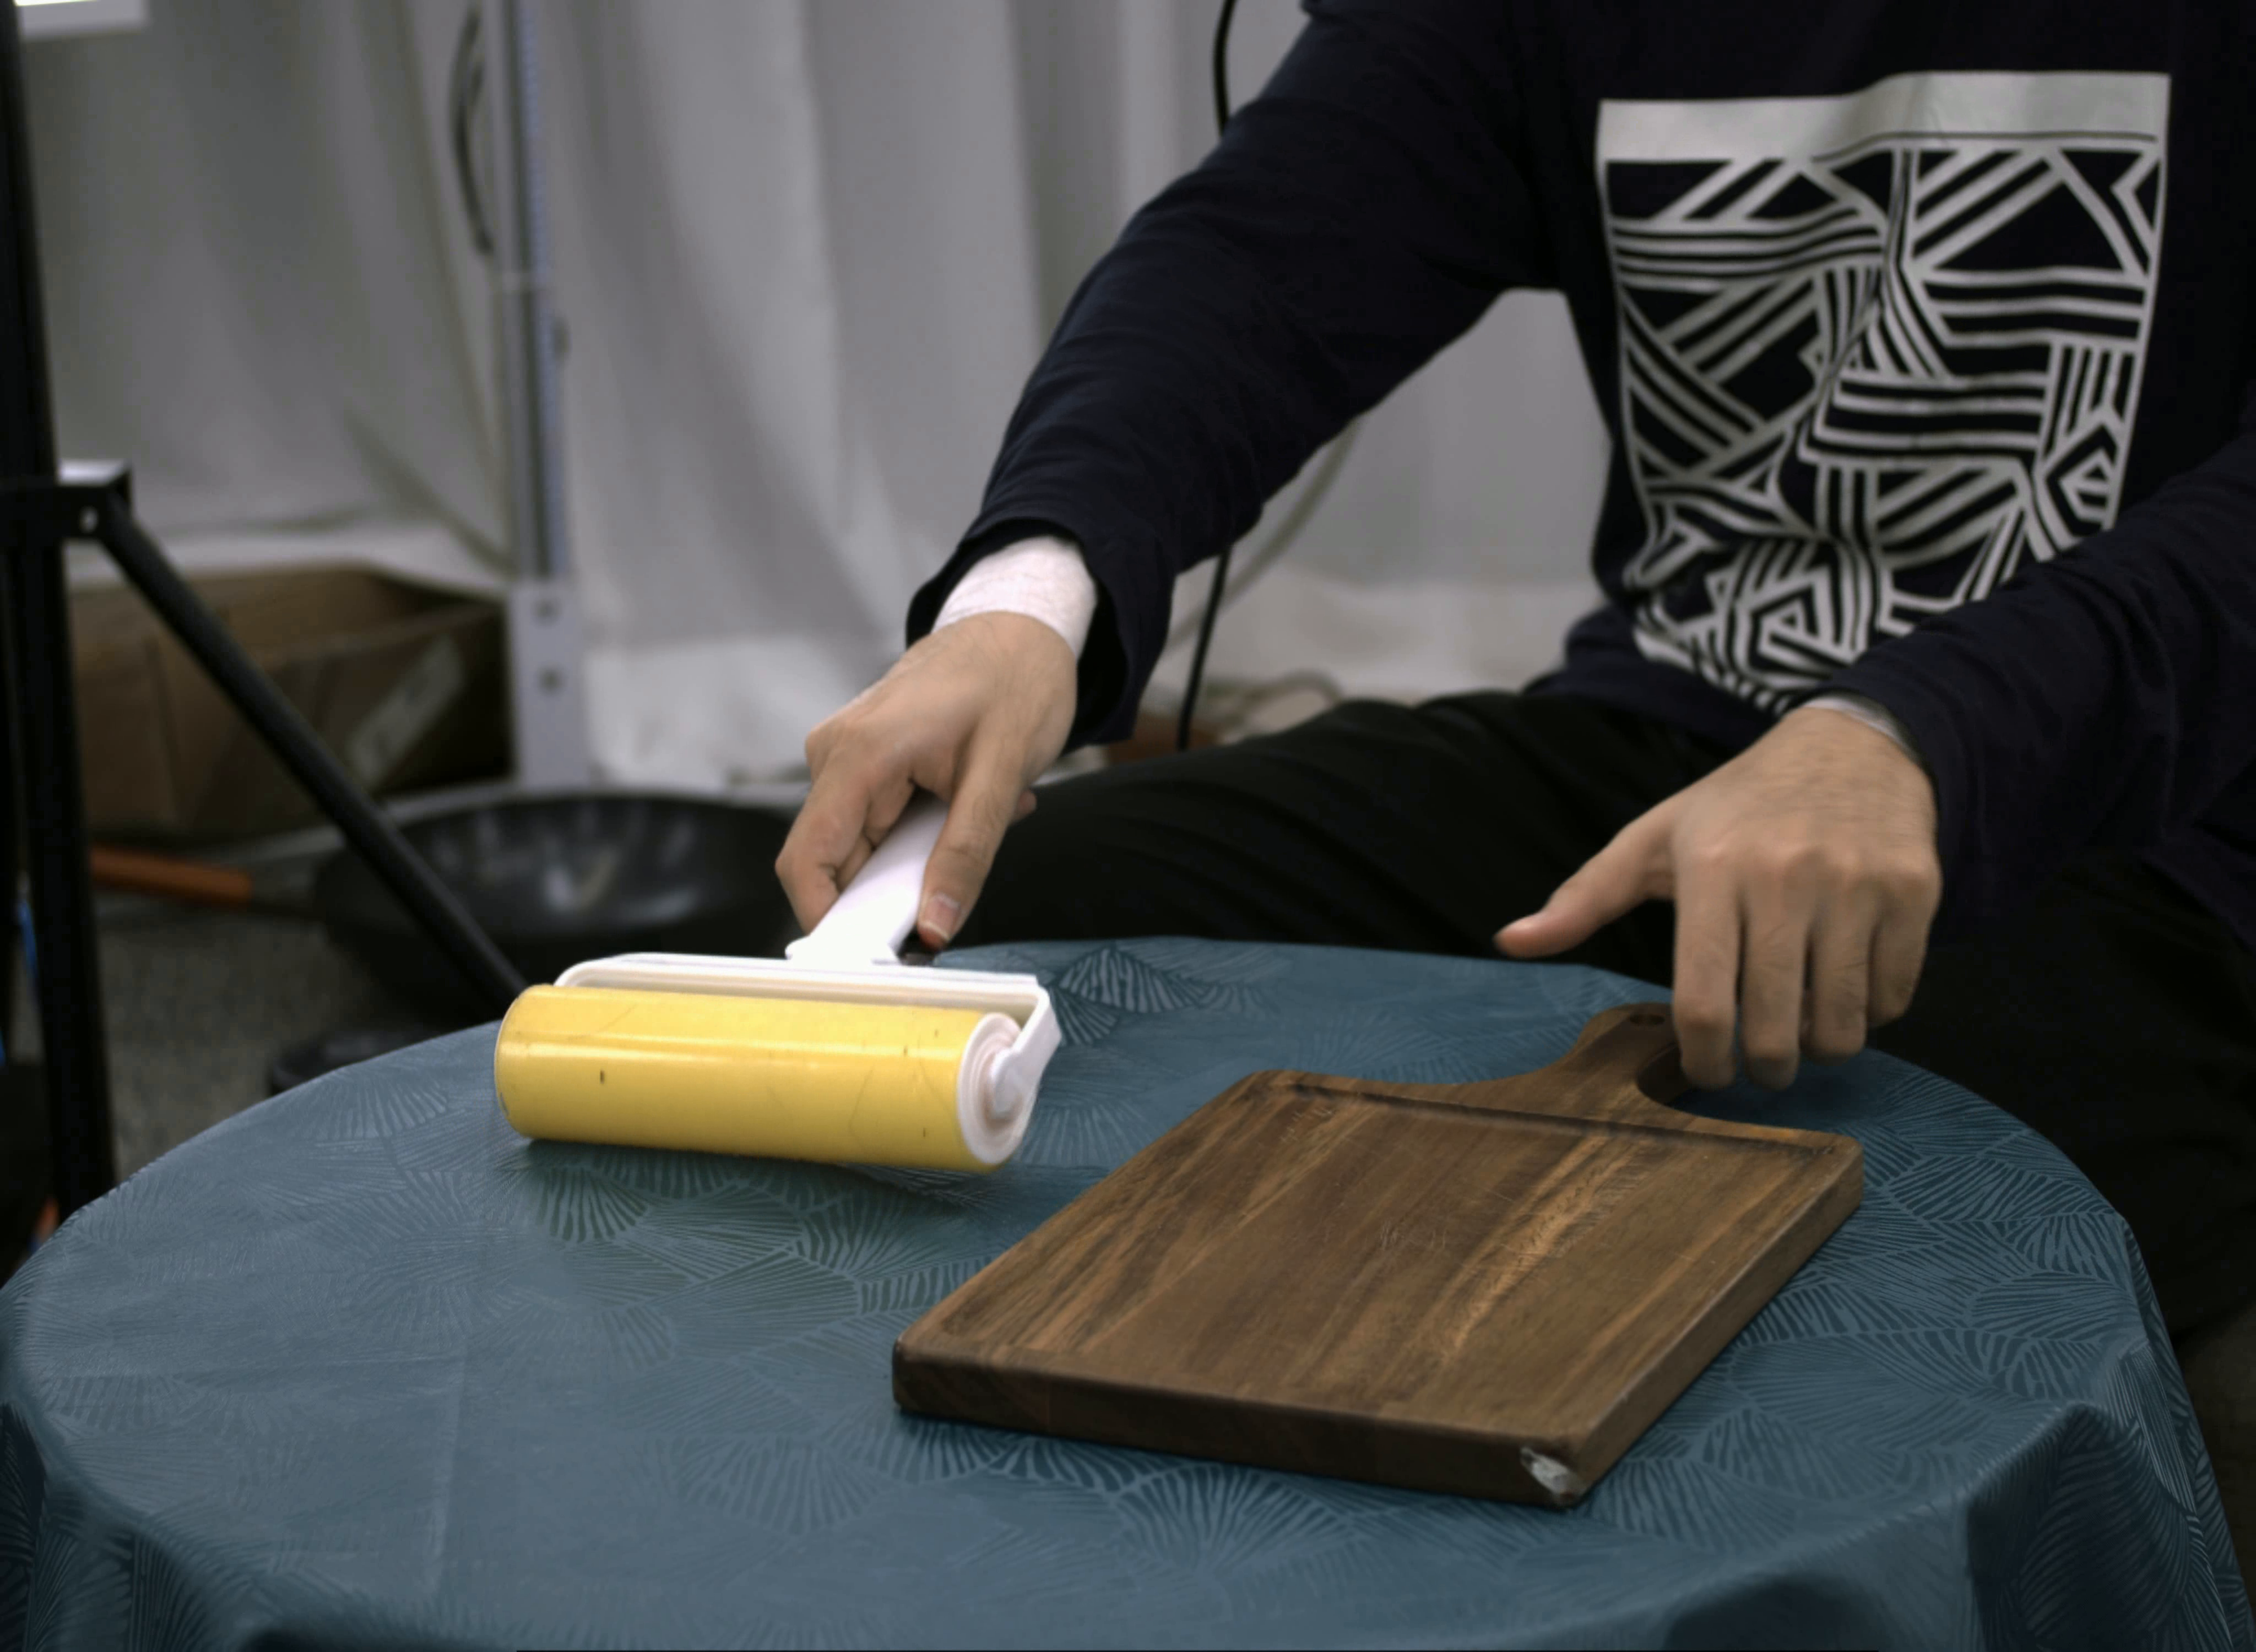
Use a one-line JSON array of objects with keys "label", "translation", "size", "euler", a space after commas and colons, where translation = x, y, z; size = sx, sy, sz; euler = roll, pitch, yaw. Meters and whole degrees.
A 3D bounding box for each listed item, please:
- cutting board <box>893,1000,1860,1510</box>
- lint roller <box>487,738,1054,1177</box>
[{"label": "cutting board", "translation": [0.095, 0.110, 1.503], "size": [0.204, 0.023, 0.347], "euler": [5, 17, 25]}, {"label": "lint roller", "translation": [-0.087, 0.027, 1.637], "size": [0.177, 0.050, 0.192], "euler": [2, 45, 27]}]
